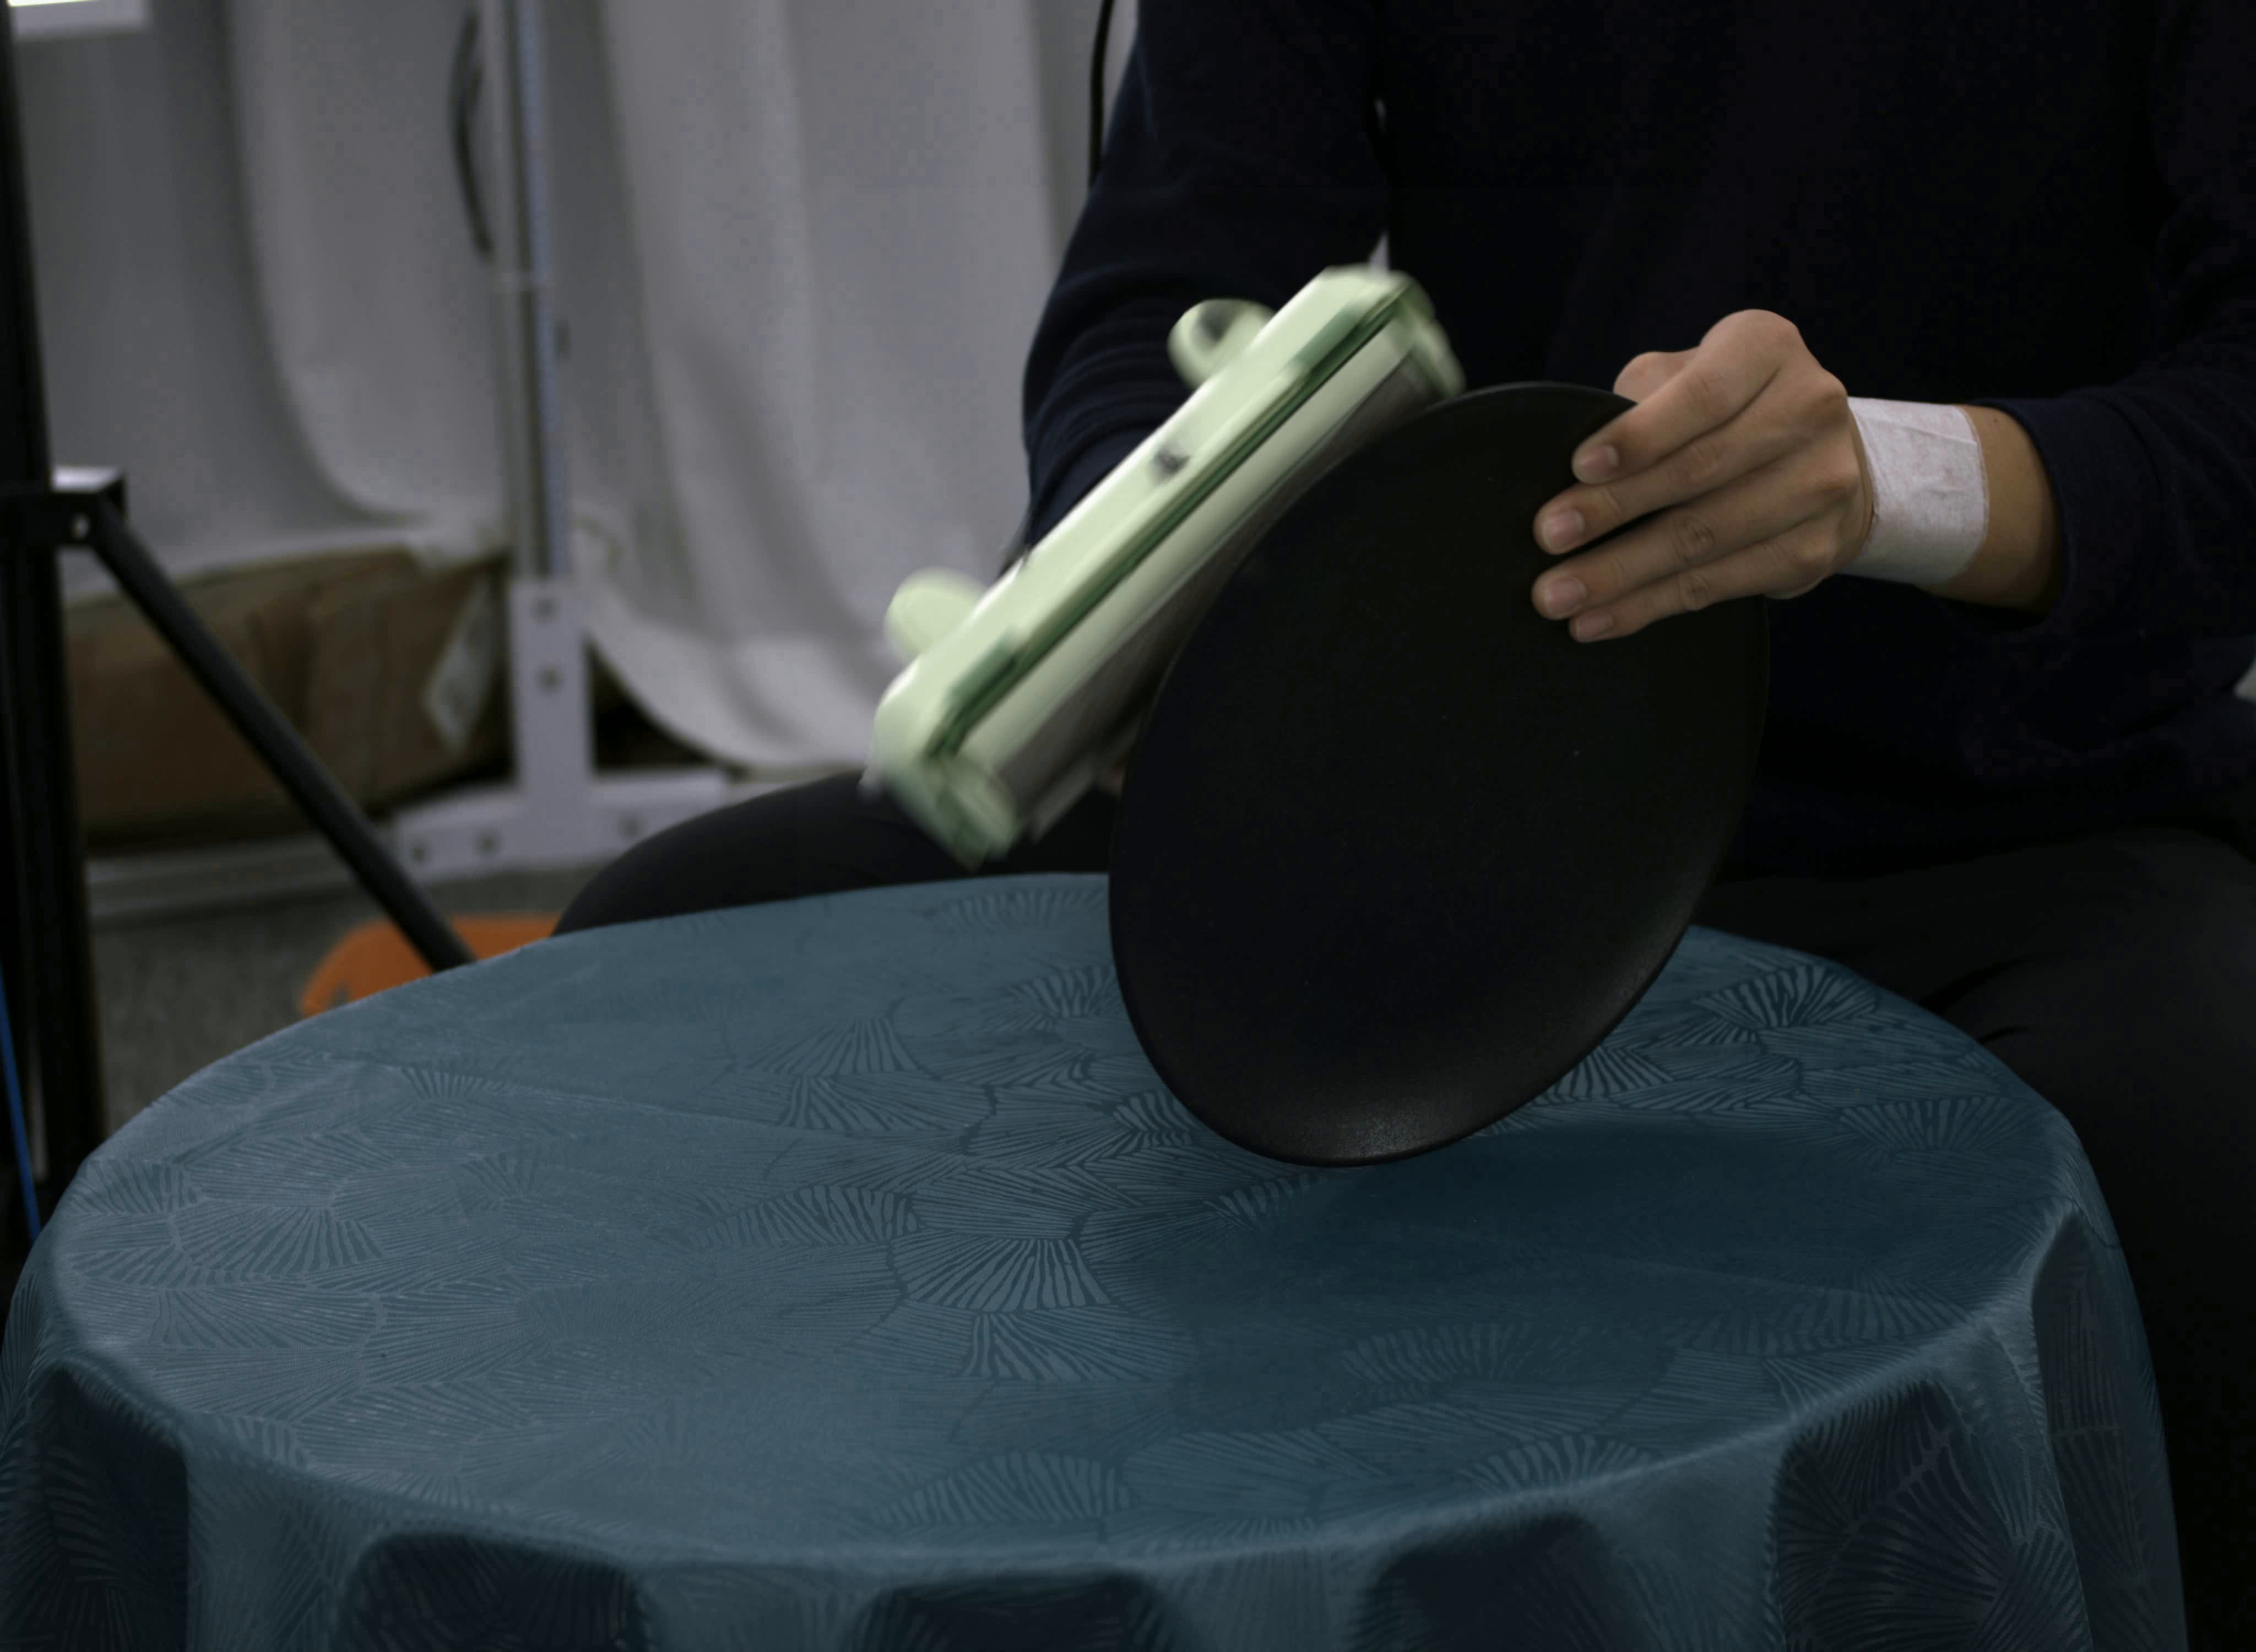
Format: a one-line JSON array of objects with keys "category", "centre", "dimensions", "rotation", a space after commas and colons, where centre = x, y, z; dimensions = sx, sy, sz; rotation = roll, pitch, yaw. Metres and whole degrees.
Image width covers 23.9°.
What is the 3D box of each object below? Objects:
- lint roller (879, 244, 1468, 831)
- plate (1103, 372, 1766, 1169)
[{"category": "lint roller", "centre": [-0.001, -0.078, 1.540], "dimensions": [0.197, 0.082, 0.184], "rotation": [-44, 1, -13]}, {"category": "plate", "centre": [0.086, -0.016, 1.534], "dimensions": [0.239, 0.244, 0.024], "rotation": [-12, 28, -32]}]
